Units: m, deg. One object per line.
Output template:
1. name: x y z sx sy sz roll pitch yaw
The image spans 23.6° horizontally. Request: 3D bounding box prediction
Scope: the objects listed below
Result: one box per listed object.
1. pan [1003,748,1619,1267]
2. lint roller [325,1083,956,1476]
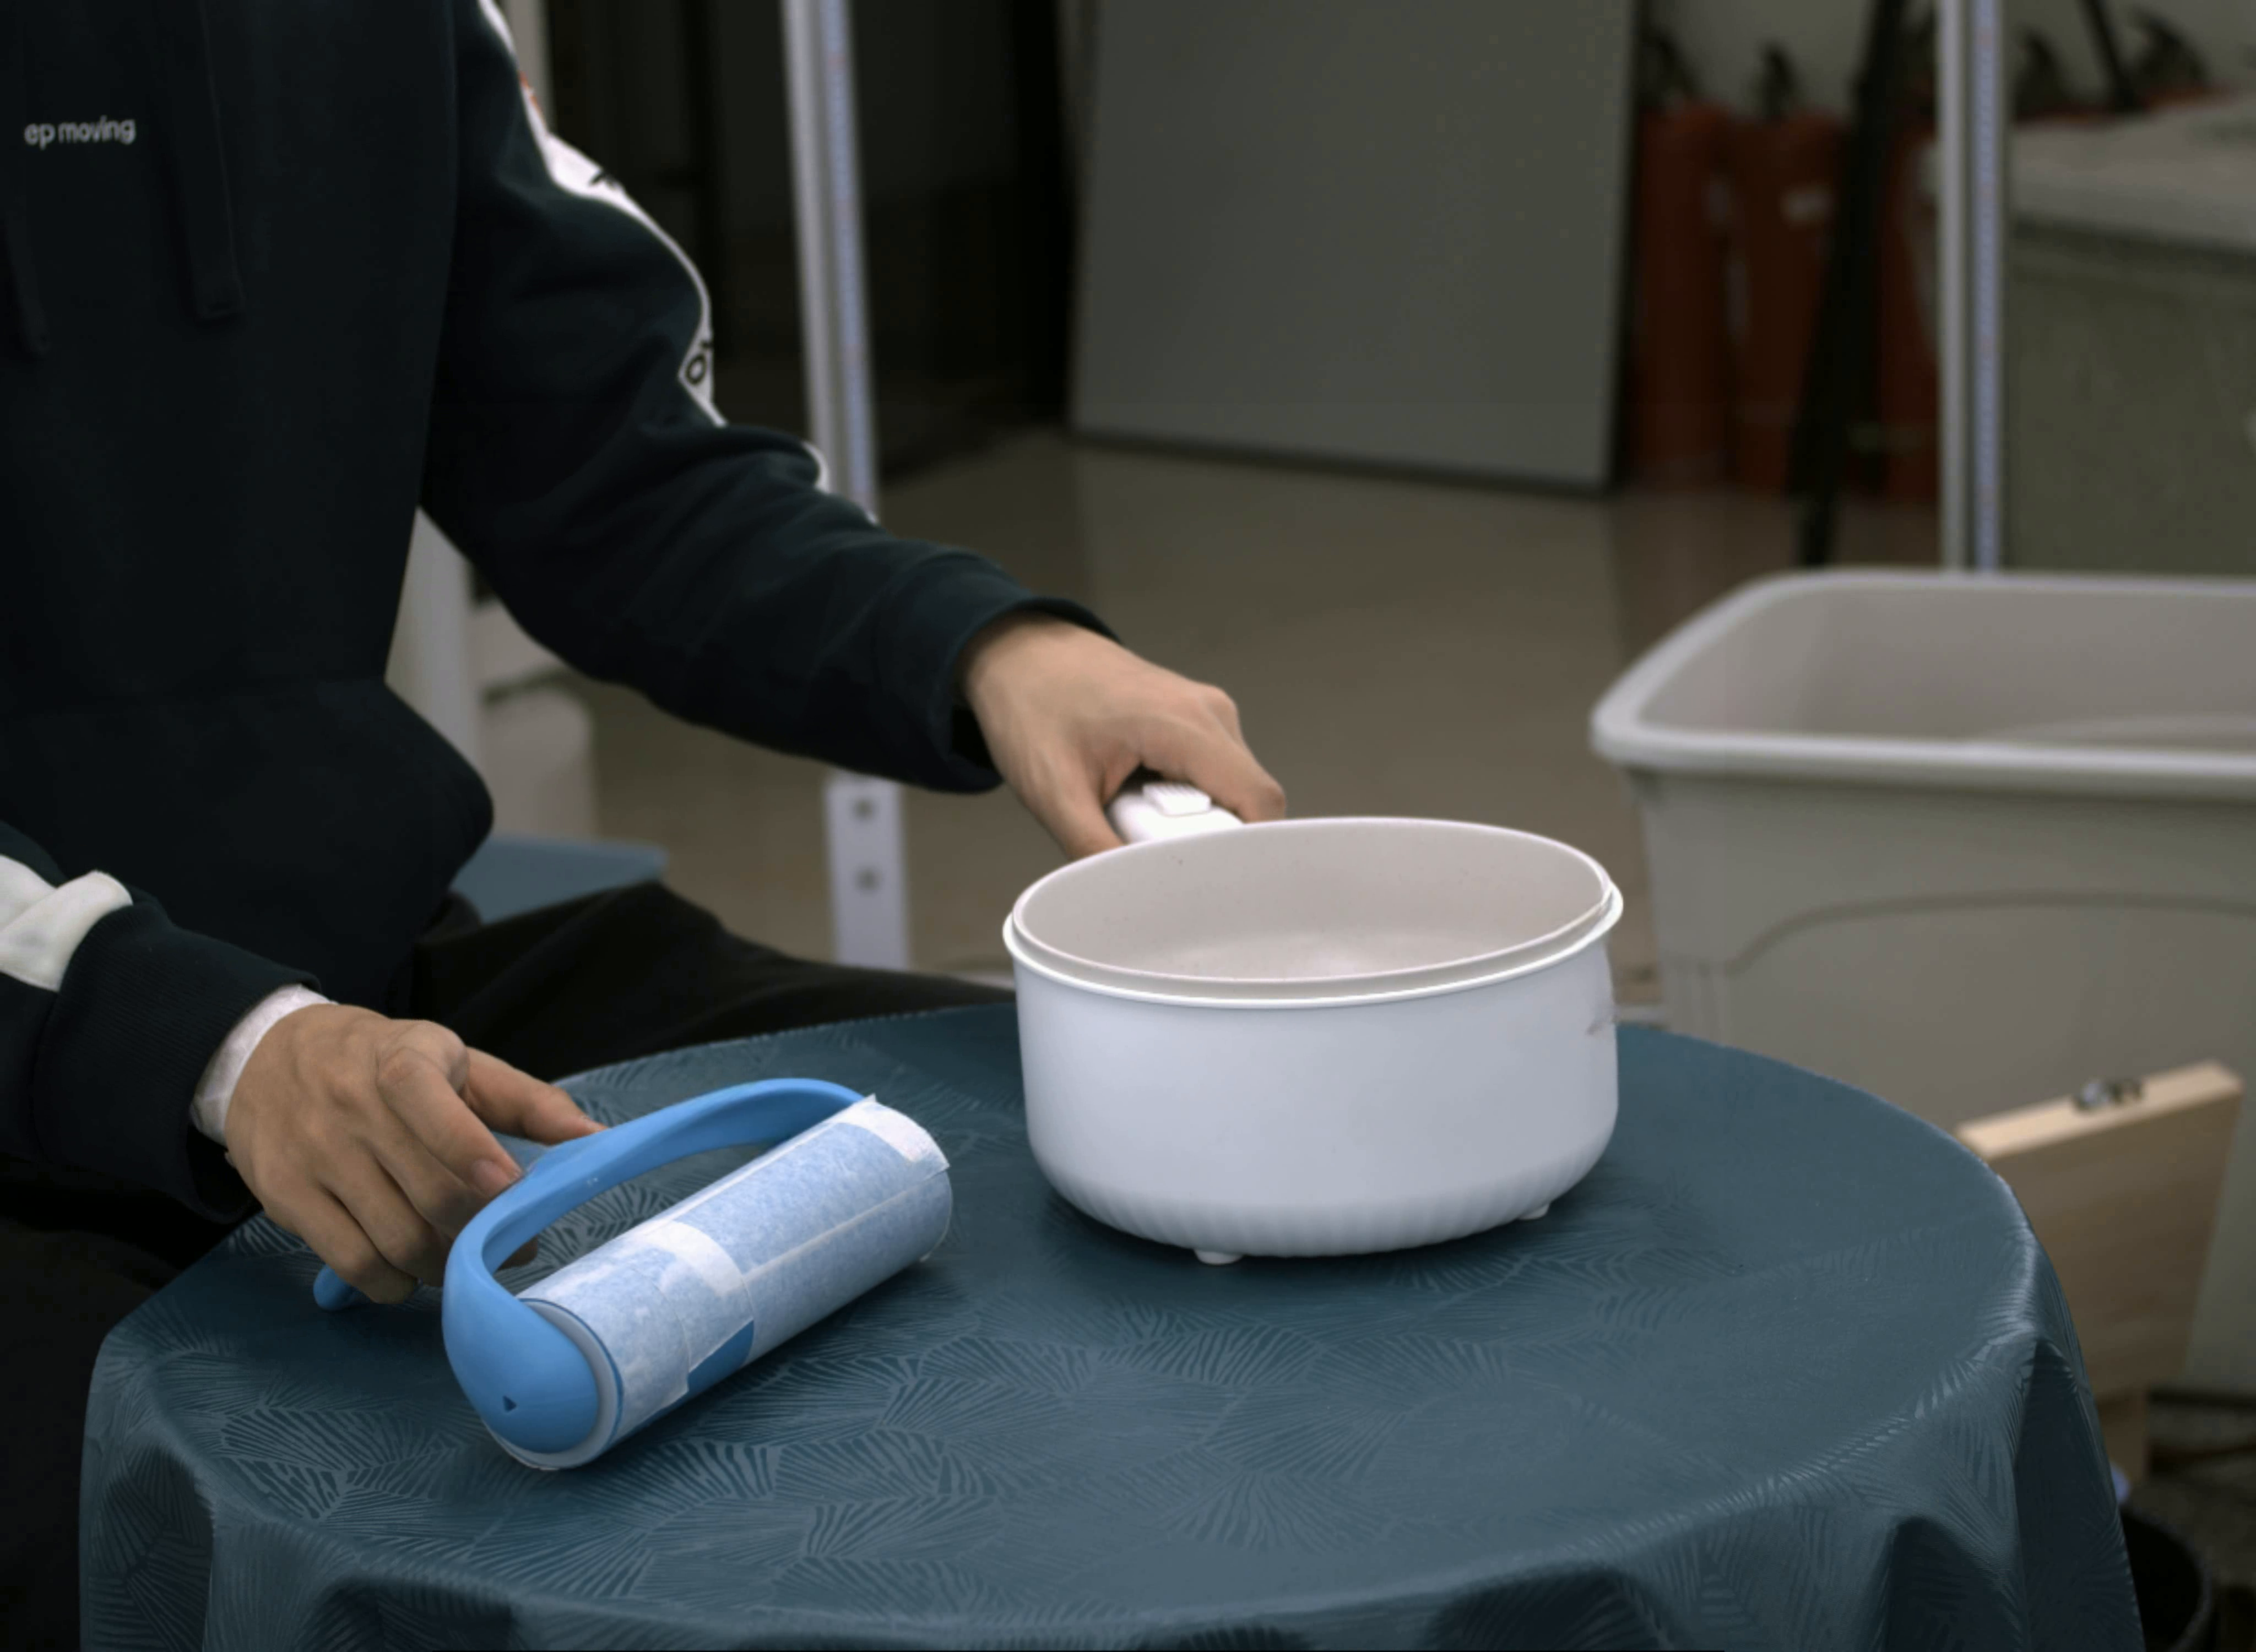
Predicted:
1. pan: 0.042 0.055 1.819 0.197 0.103 0.357 -8 13 -13
2. lint roller: -0.173 0.133 1.656 0.180 0.068 0.226 4 17 26
